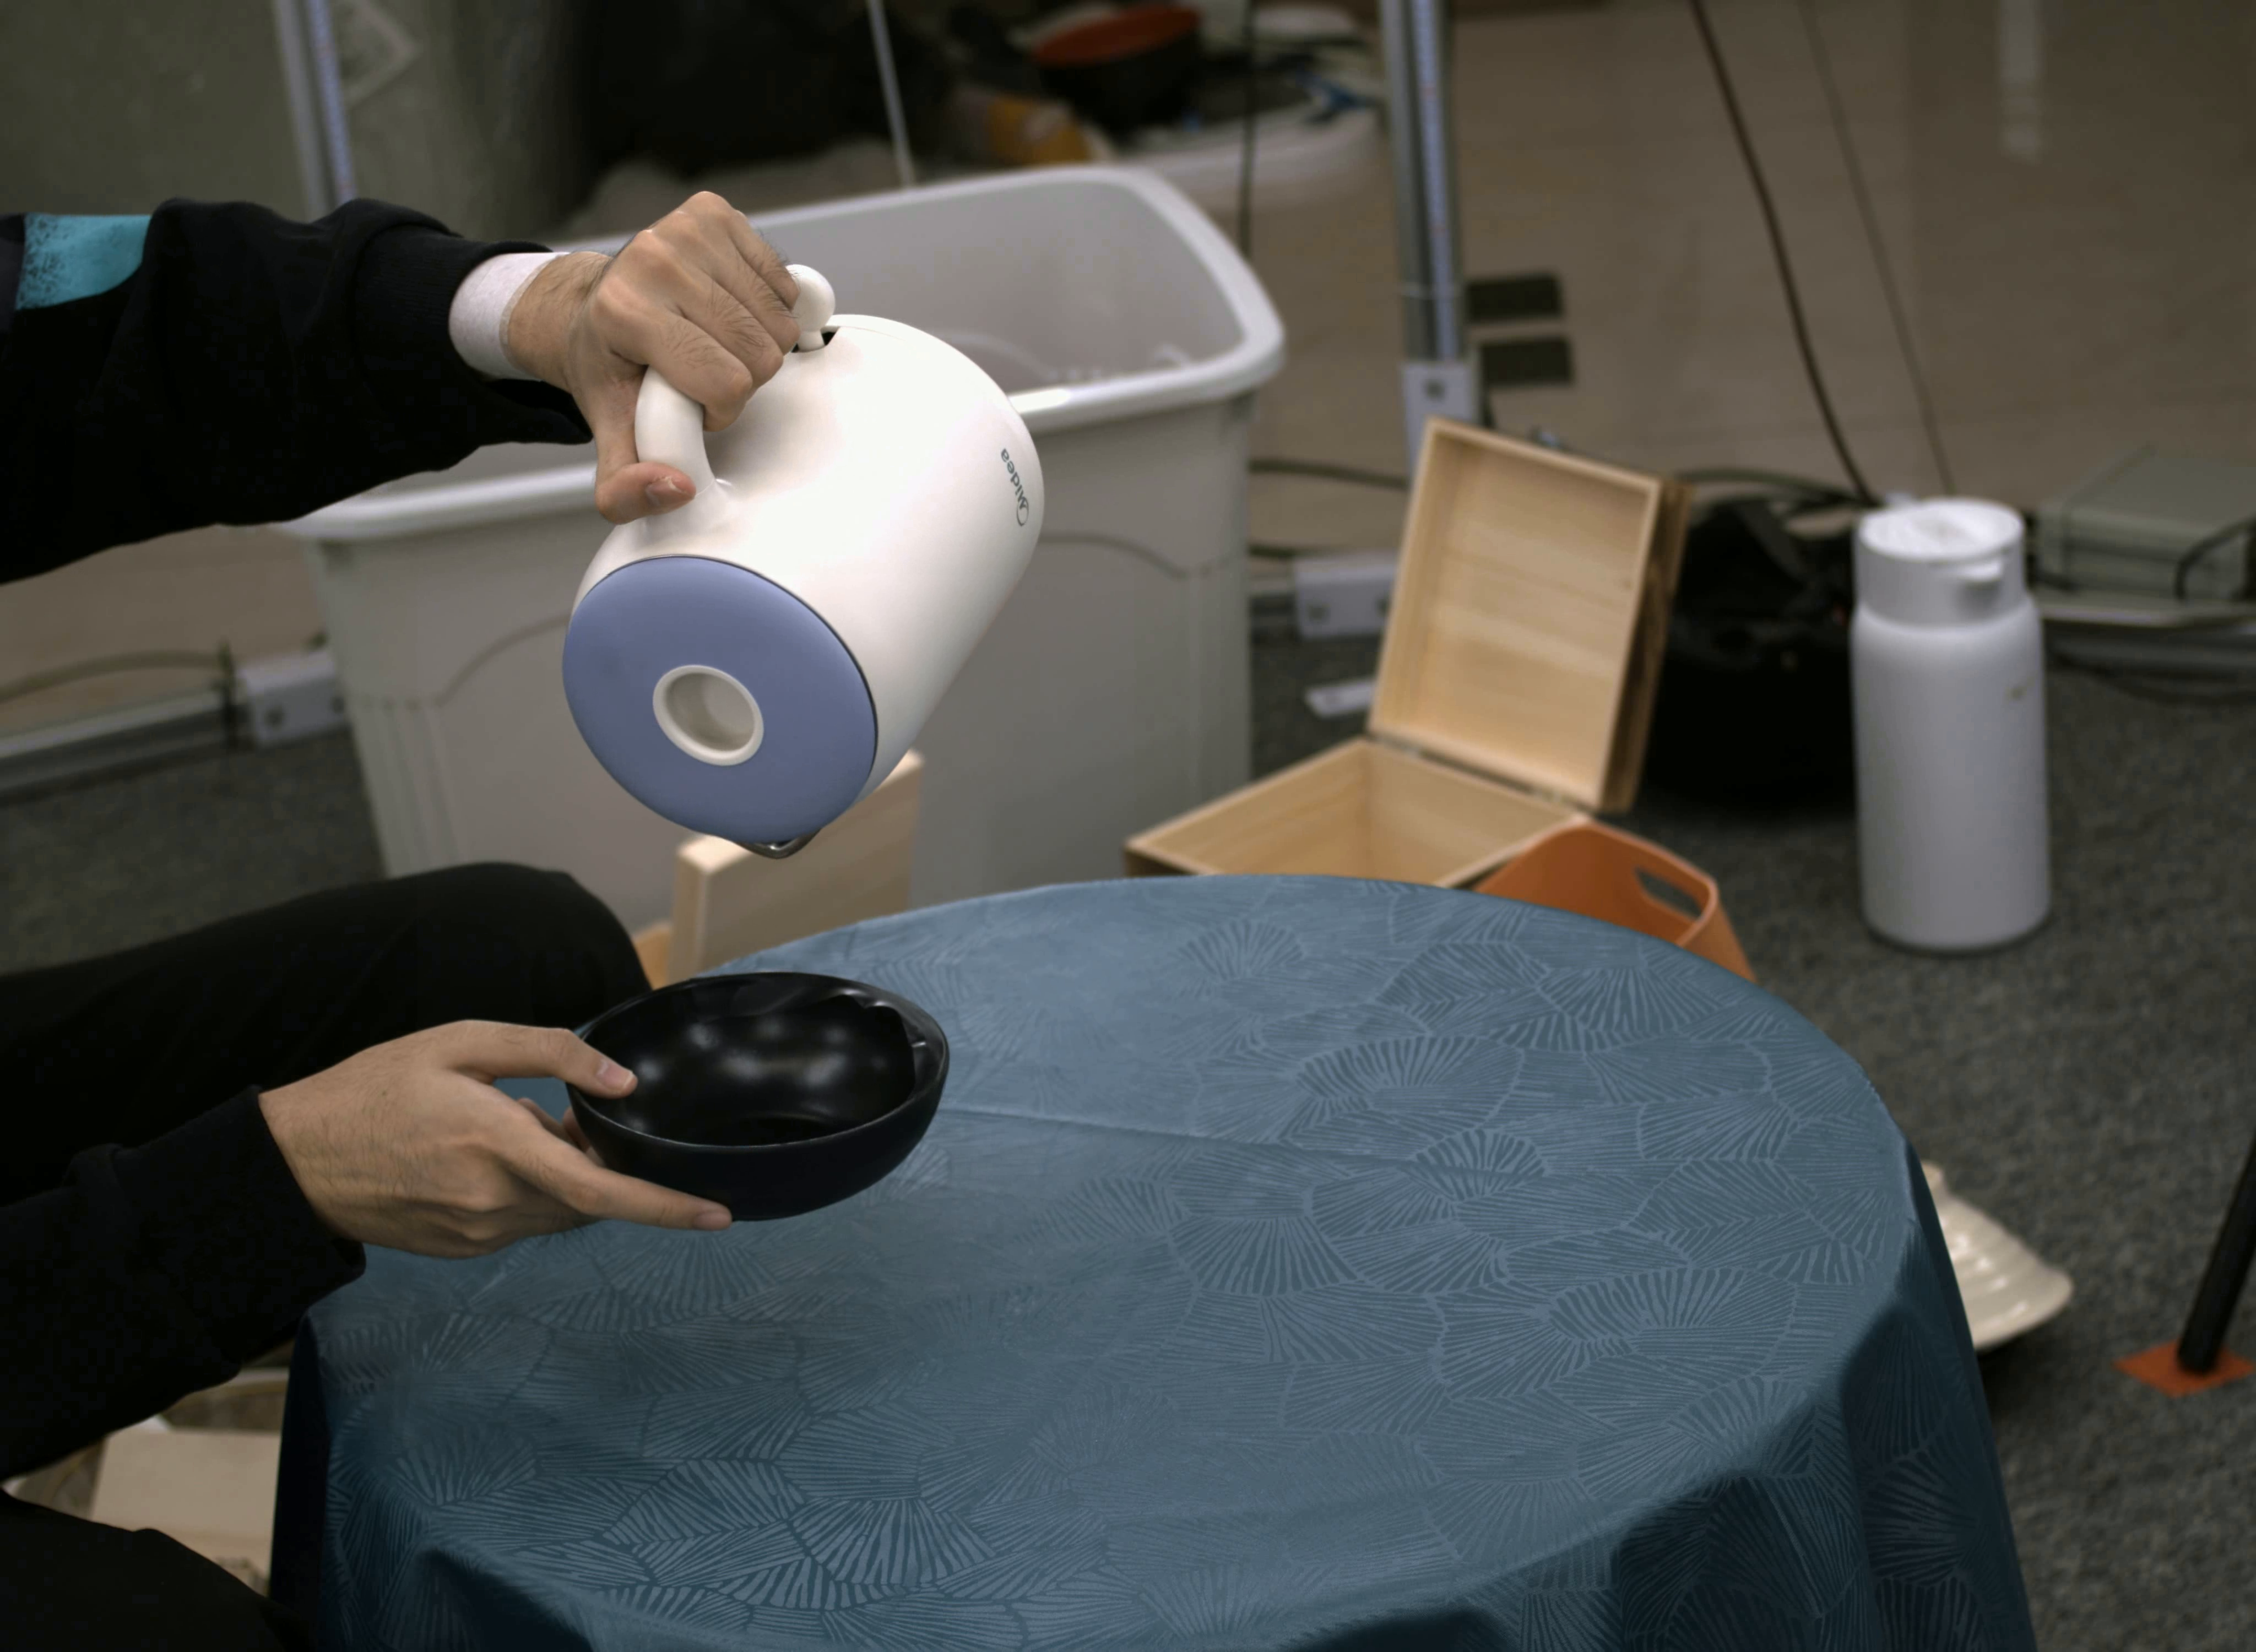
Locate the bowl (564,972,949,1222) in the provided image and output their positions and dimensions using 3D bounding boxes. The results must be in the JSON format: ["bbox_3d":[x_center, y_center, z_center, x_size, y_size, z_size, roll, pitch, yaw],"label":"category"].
[{"bbox_3d":[-0.132,0.105,2.044,0.140,0.050,0.138,-3,25,1],"label":"bowl"}]

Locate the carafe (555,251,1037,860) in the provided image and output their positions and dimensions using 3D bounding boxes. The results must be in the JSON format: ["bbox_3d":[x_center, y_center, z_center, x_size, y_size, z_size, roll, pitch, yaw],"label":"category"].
[{"bbox_3d":[-0.126,-0.110,2.027,0.132,0.194,0.180,-4,31,25],"label":"carafe"}]
